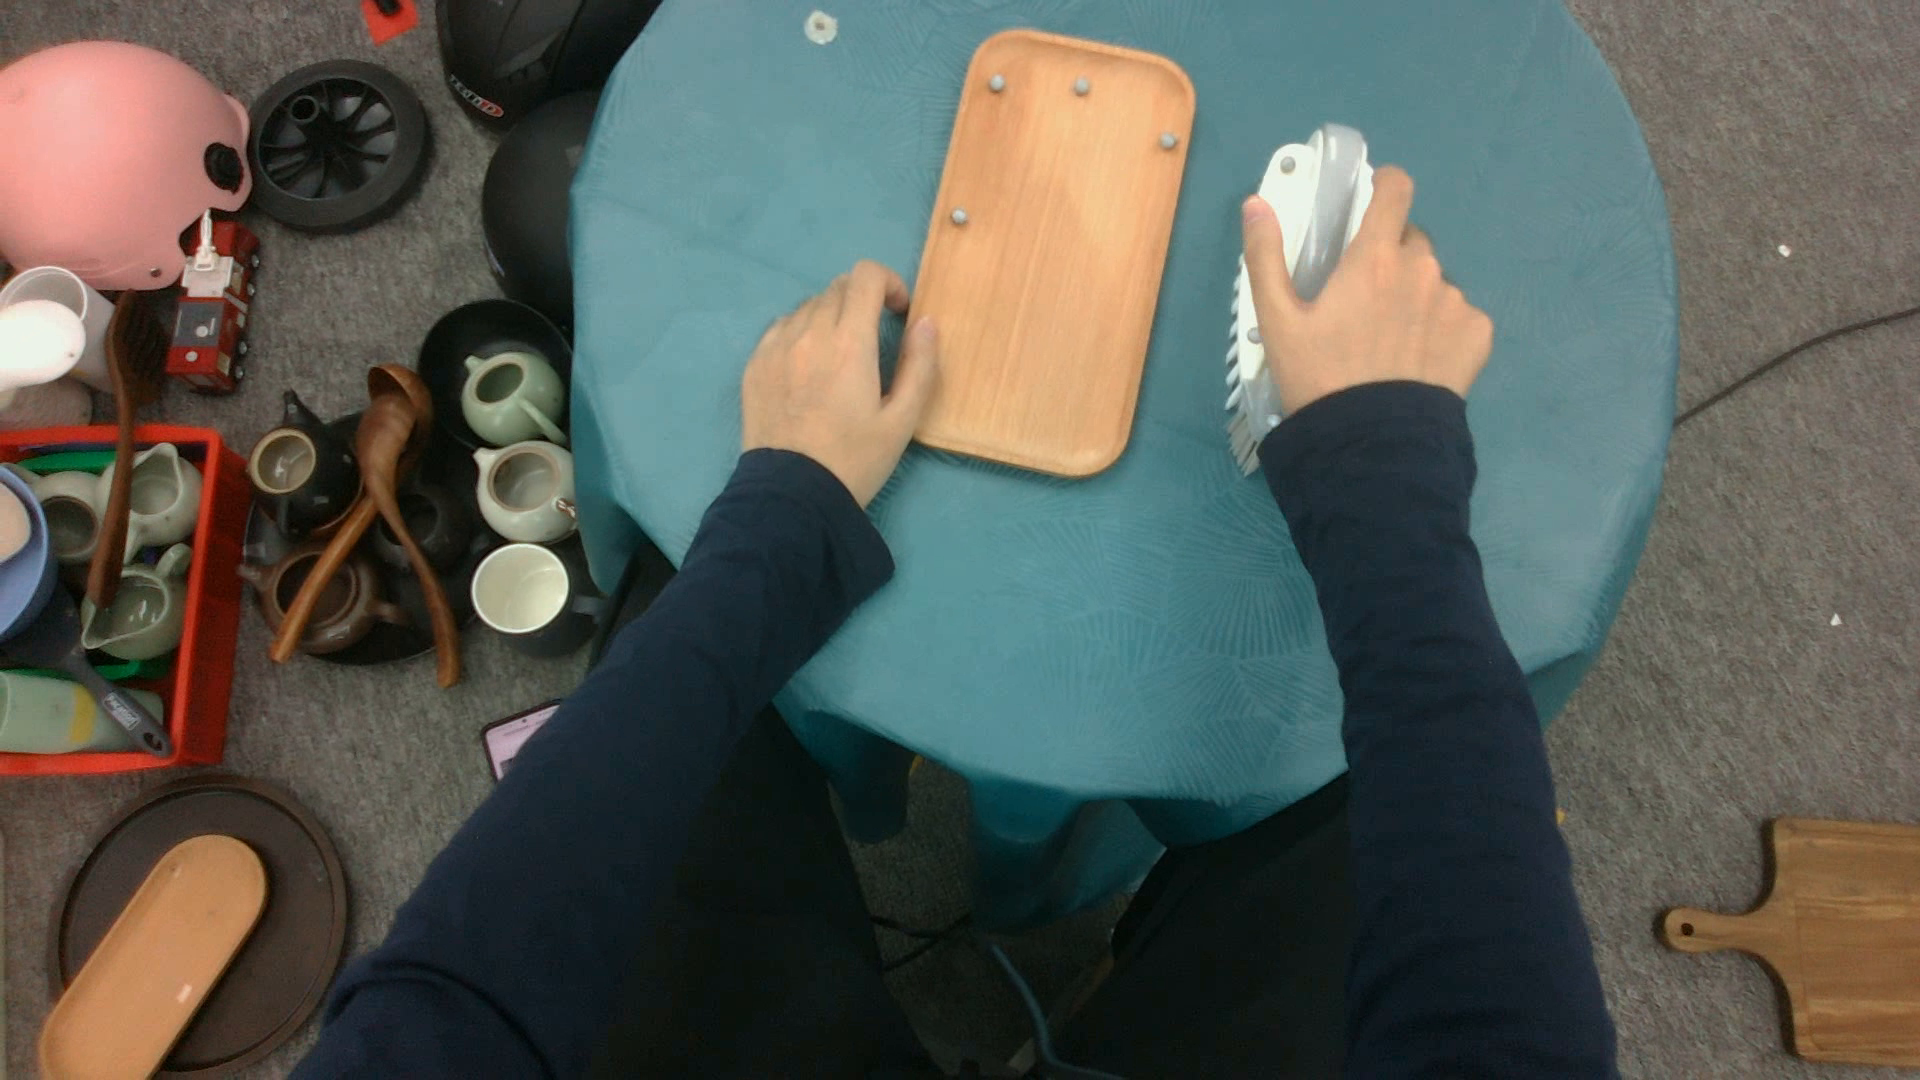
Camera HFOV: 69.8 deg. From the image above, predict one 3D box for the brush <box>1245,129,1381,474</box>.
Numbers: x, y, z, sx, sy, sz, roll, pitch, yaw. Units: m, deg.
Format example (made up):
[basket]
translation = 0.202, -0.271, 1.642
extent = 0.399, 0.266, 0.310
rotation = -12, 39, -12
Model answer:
[brush]
translation = 0.177, -0.127, 0.706
extent = 0.061, 0.094, 0.176
rotation = 12, 77, 9

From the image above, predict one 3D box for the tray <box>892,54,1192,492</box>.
[tray]
translation = 0.047, -0.149, 0.754
extent = 0.130, 0.023, 0.251
rotation = 11, 75, 6
